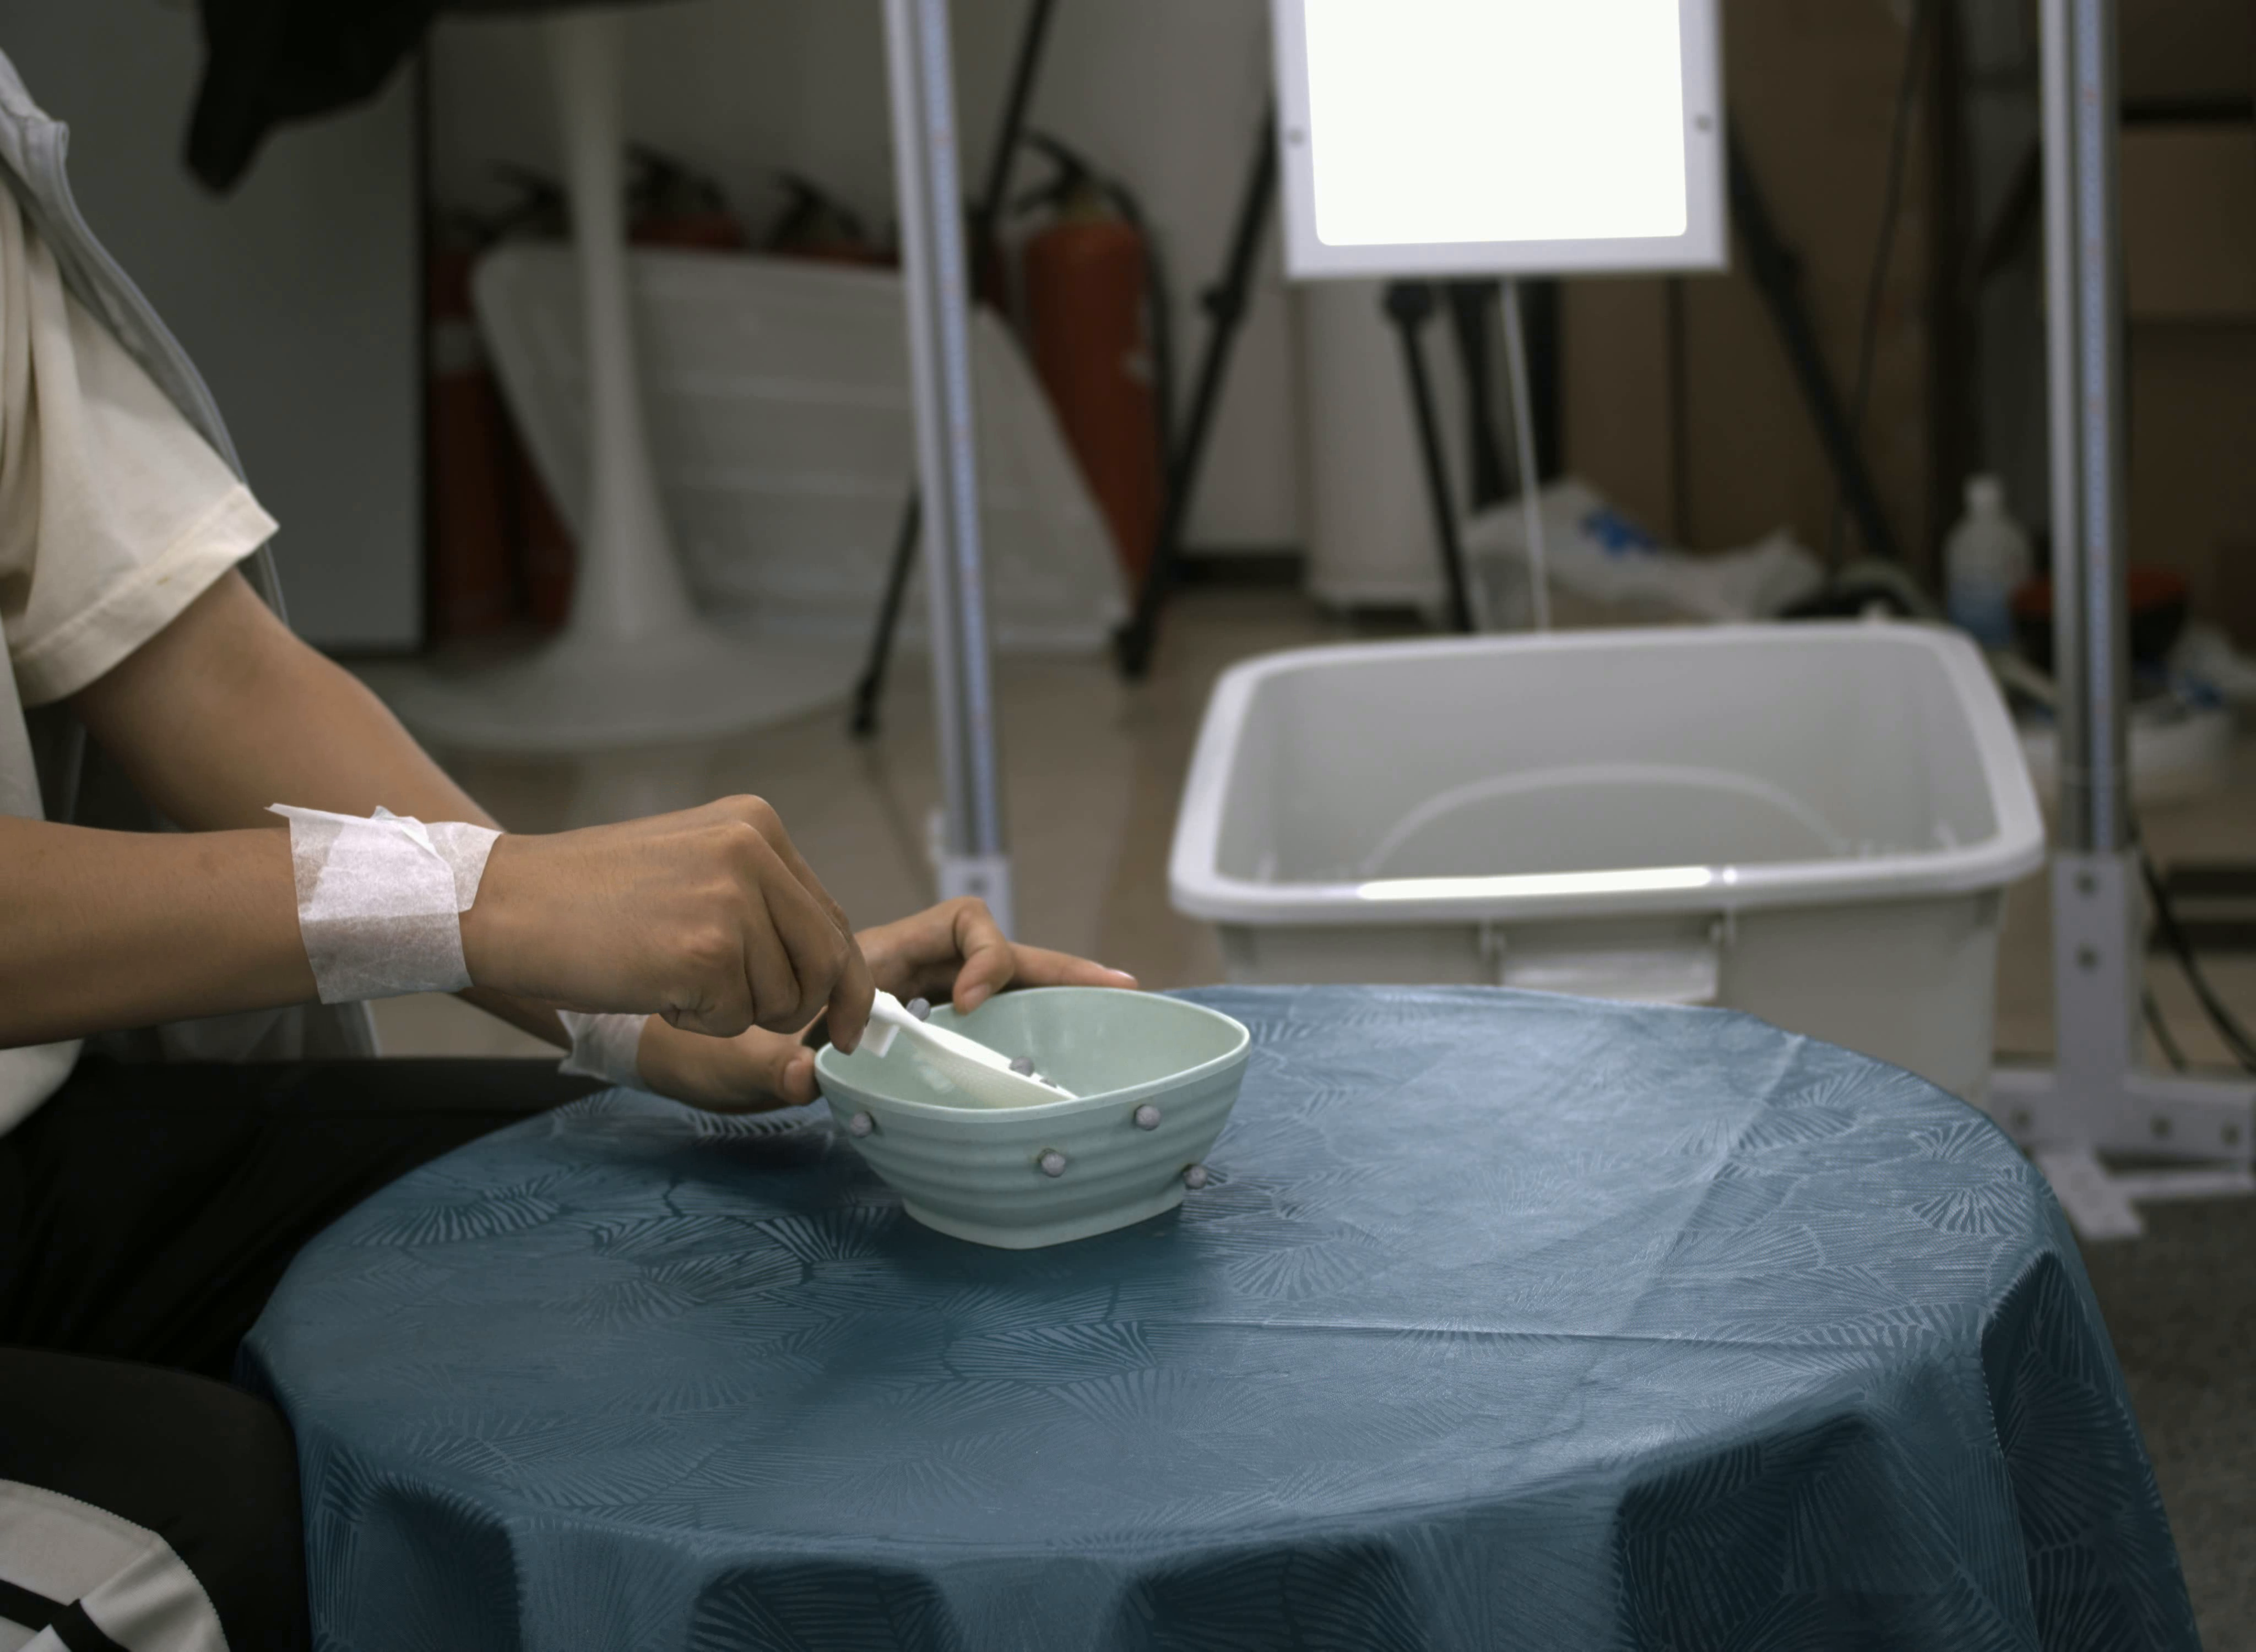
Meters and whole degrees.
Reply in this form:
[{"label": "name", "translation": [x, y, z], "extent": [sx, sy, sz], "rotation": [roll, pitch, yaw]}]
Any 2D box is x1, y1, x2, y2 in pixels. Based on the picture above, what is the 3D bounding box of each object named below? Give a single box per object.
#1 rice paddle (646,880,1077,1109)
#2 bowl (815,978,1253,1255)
[{"label": "rice paddle", "translation": [-0.078, 0.064, 1.850], "extent": [0.201, 0.029, 0.070], "rotation": [26, 1, -41]}, {"label": "bowl", "translation": [-0.031, 0.103, 1.887], "extent": [0.151, 0.059, 0.151], "rotation": [-4, 16, 0]}]
